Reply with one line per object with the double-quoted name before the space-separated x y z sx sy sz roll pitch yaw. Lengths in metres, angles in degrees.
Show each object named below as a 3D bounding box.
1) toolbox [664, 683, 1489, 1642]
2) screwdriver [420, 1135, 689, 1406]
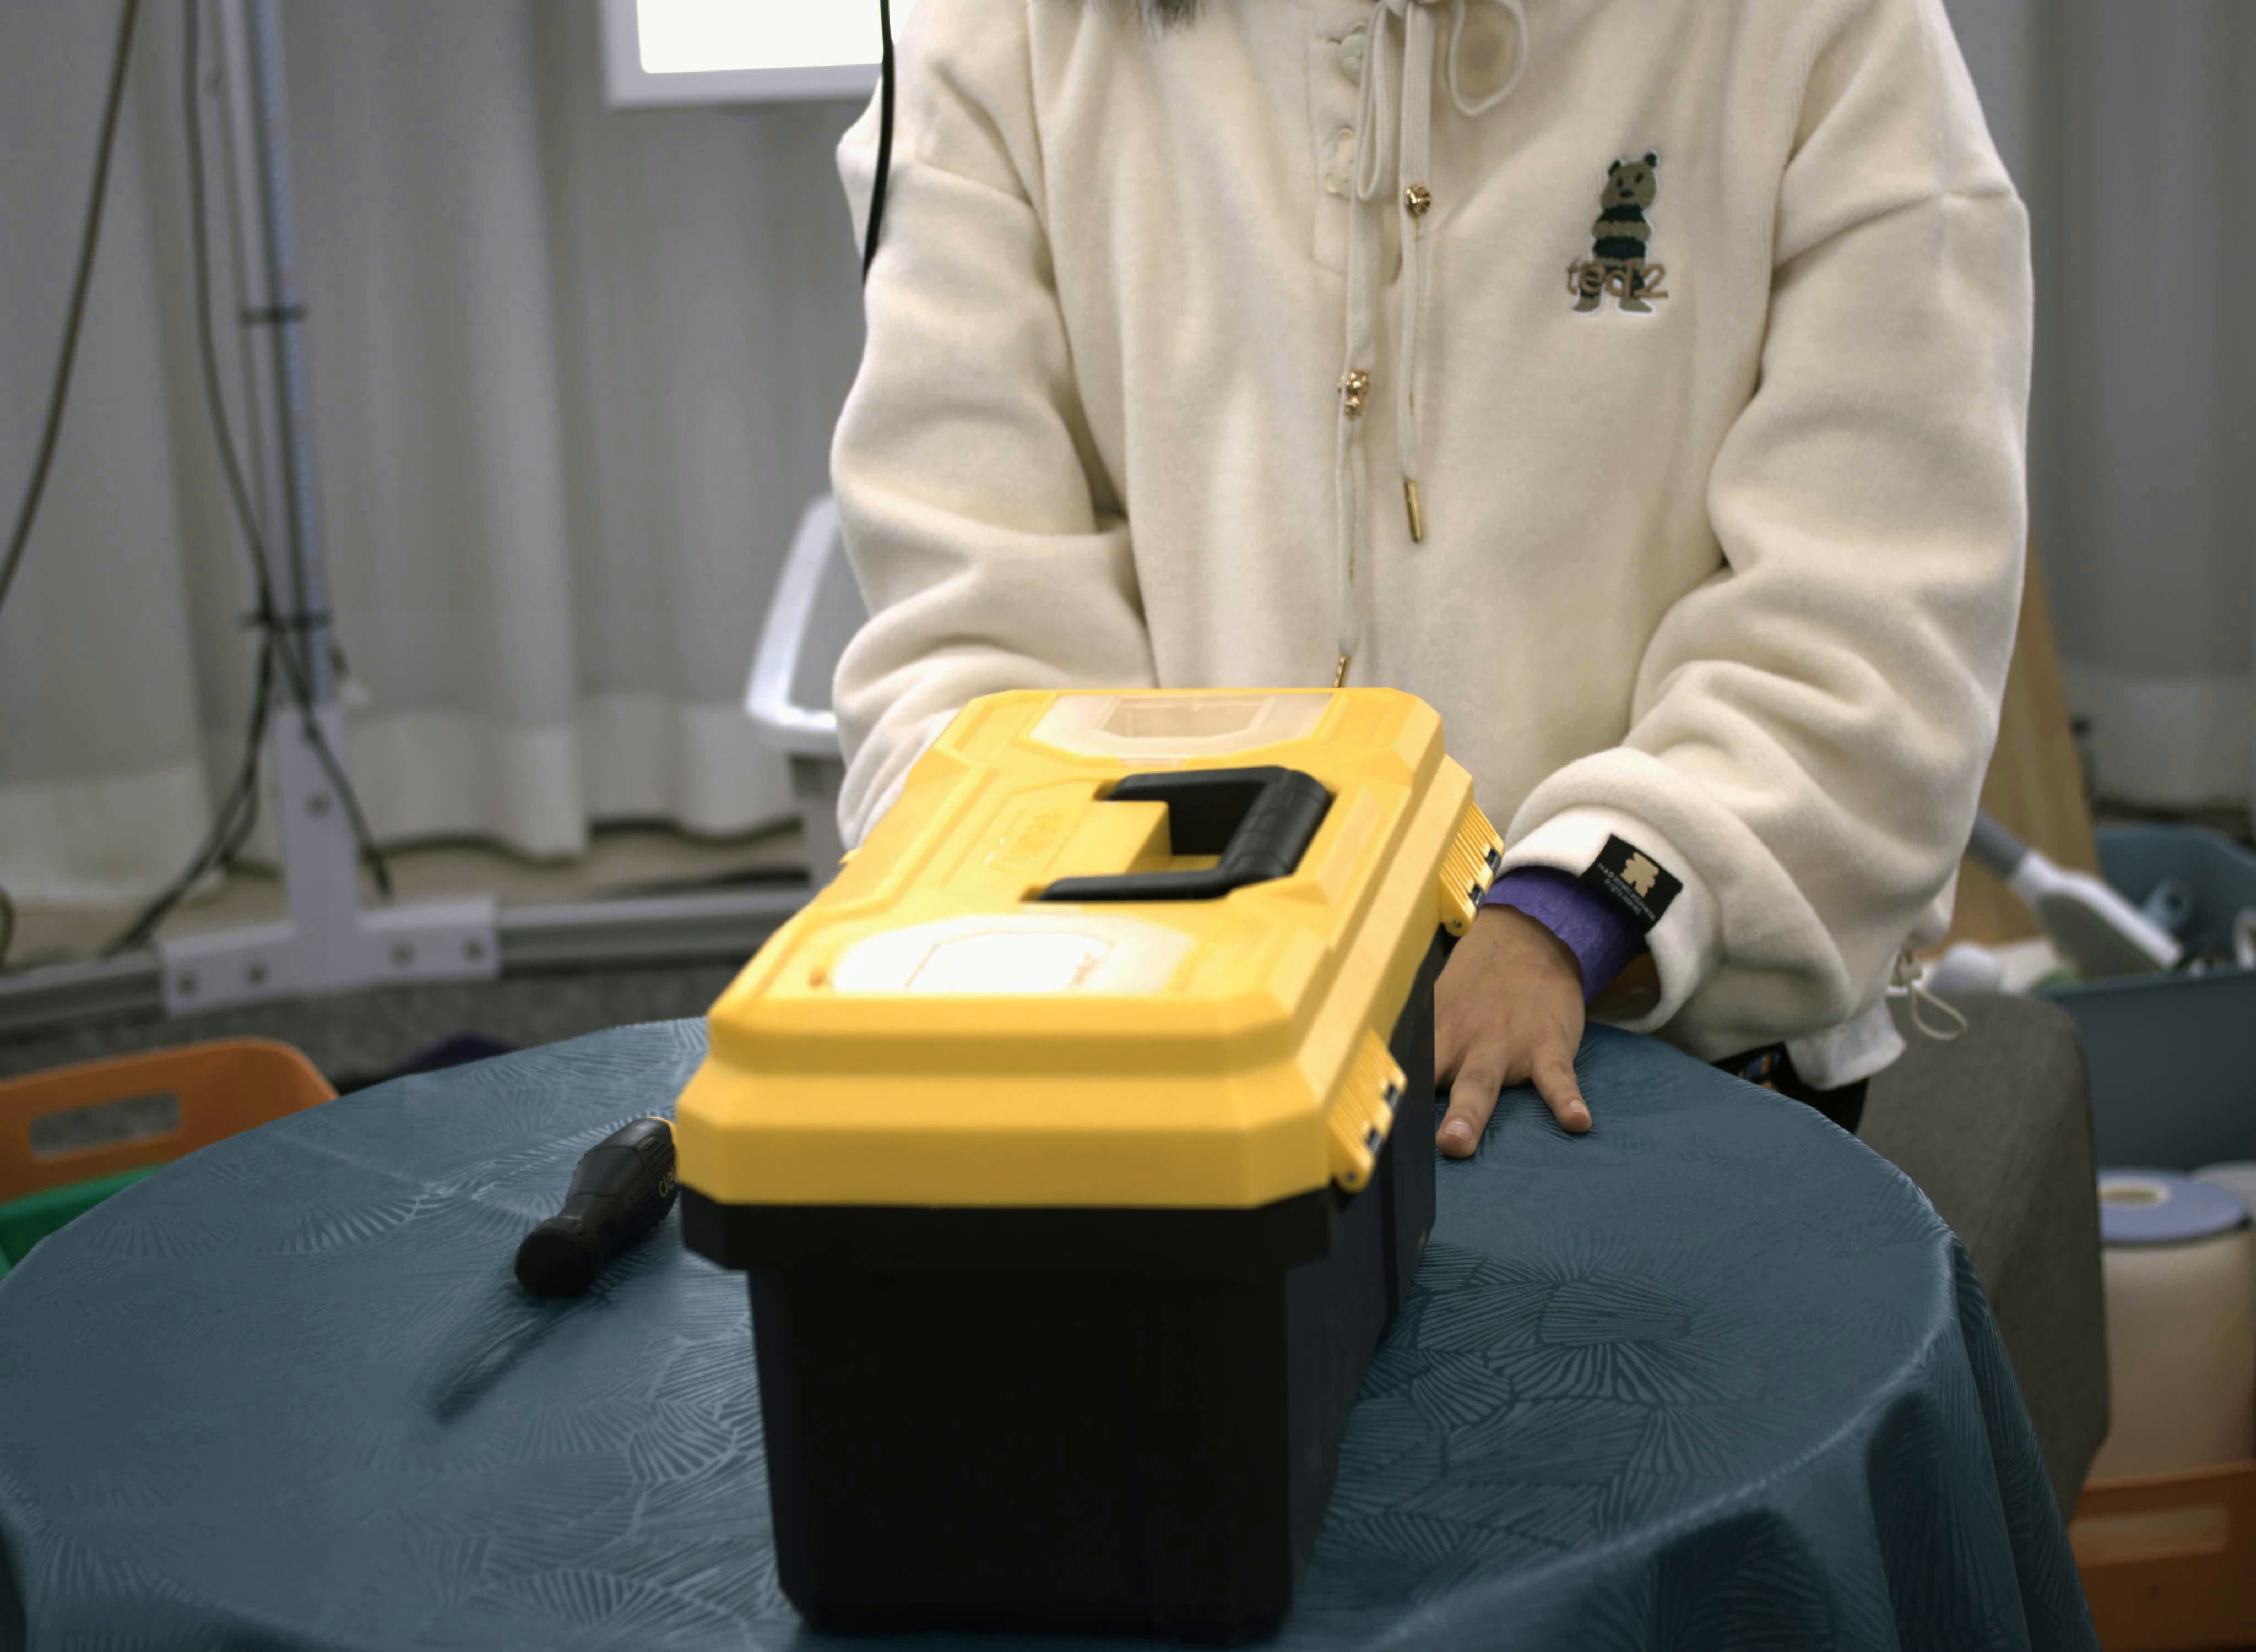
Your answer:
"toolbox" -0.001 0.082 1.502 0.181 0.172 0.353 0 15 11
"screwdriver" -0.173 0.138 1.641 0.031 0.031 0.199 2 20 16
